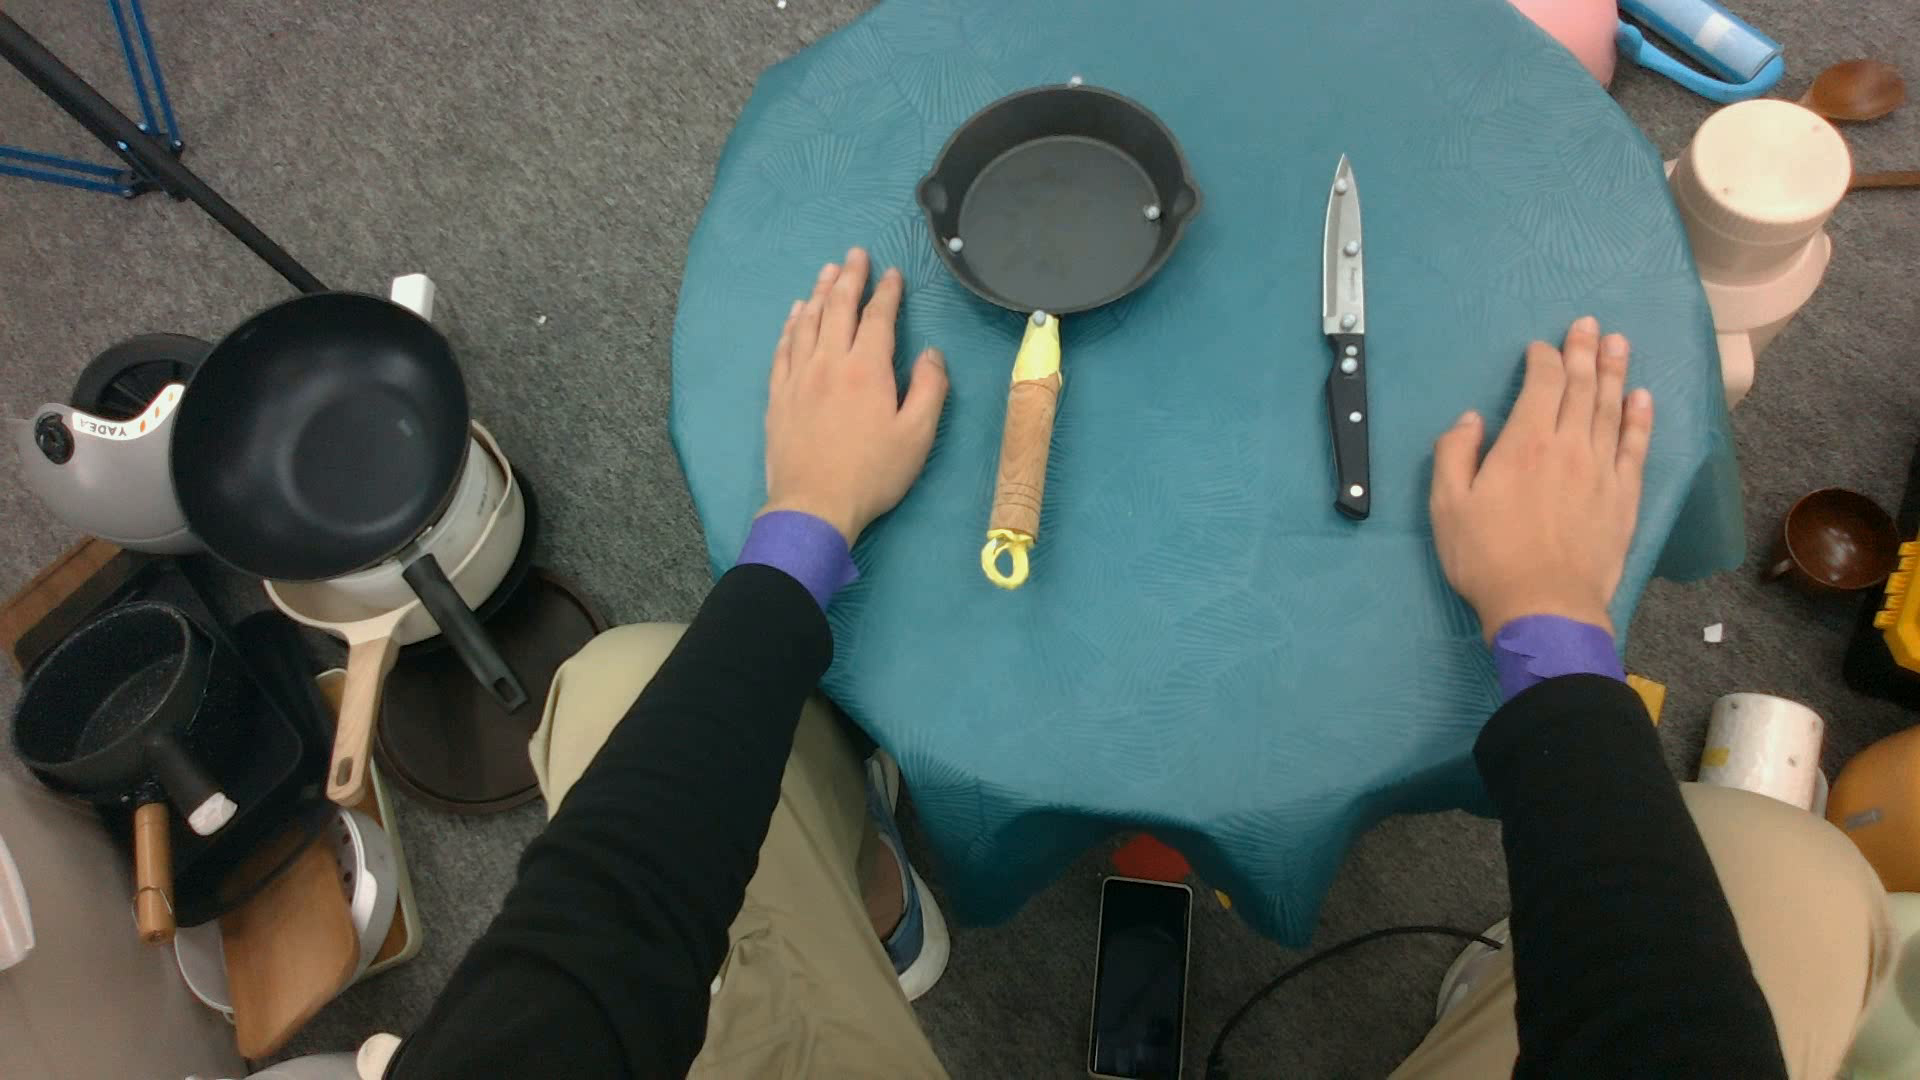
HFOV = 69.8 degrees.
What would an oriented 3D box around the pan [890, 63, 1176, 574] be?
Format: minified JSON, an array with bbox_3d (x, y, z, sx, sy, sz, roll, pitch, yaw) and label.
[{"bbox_3d":[0.031,-0.132,0.790,0.169,0.049,0.325,6,71,9],"label":"pan"}]

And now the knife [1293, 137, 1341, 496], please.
[{"bbox_3d":[0.206,-0.135,0.791,0.024,0.016,0.239,1,67,7],"label":"knife"}]
